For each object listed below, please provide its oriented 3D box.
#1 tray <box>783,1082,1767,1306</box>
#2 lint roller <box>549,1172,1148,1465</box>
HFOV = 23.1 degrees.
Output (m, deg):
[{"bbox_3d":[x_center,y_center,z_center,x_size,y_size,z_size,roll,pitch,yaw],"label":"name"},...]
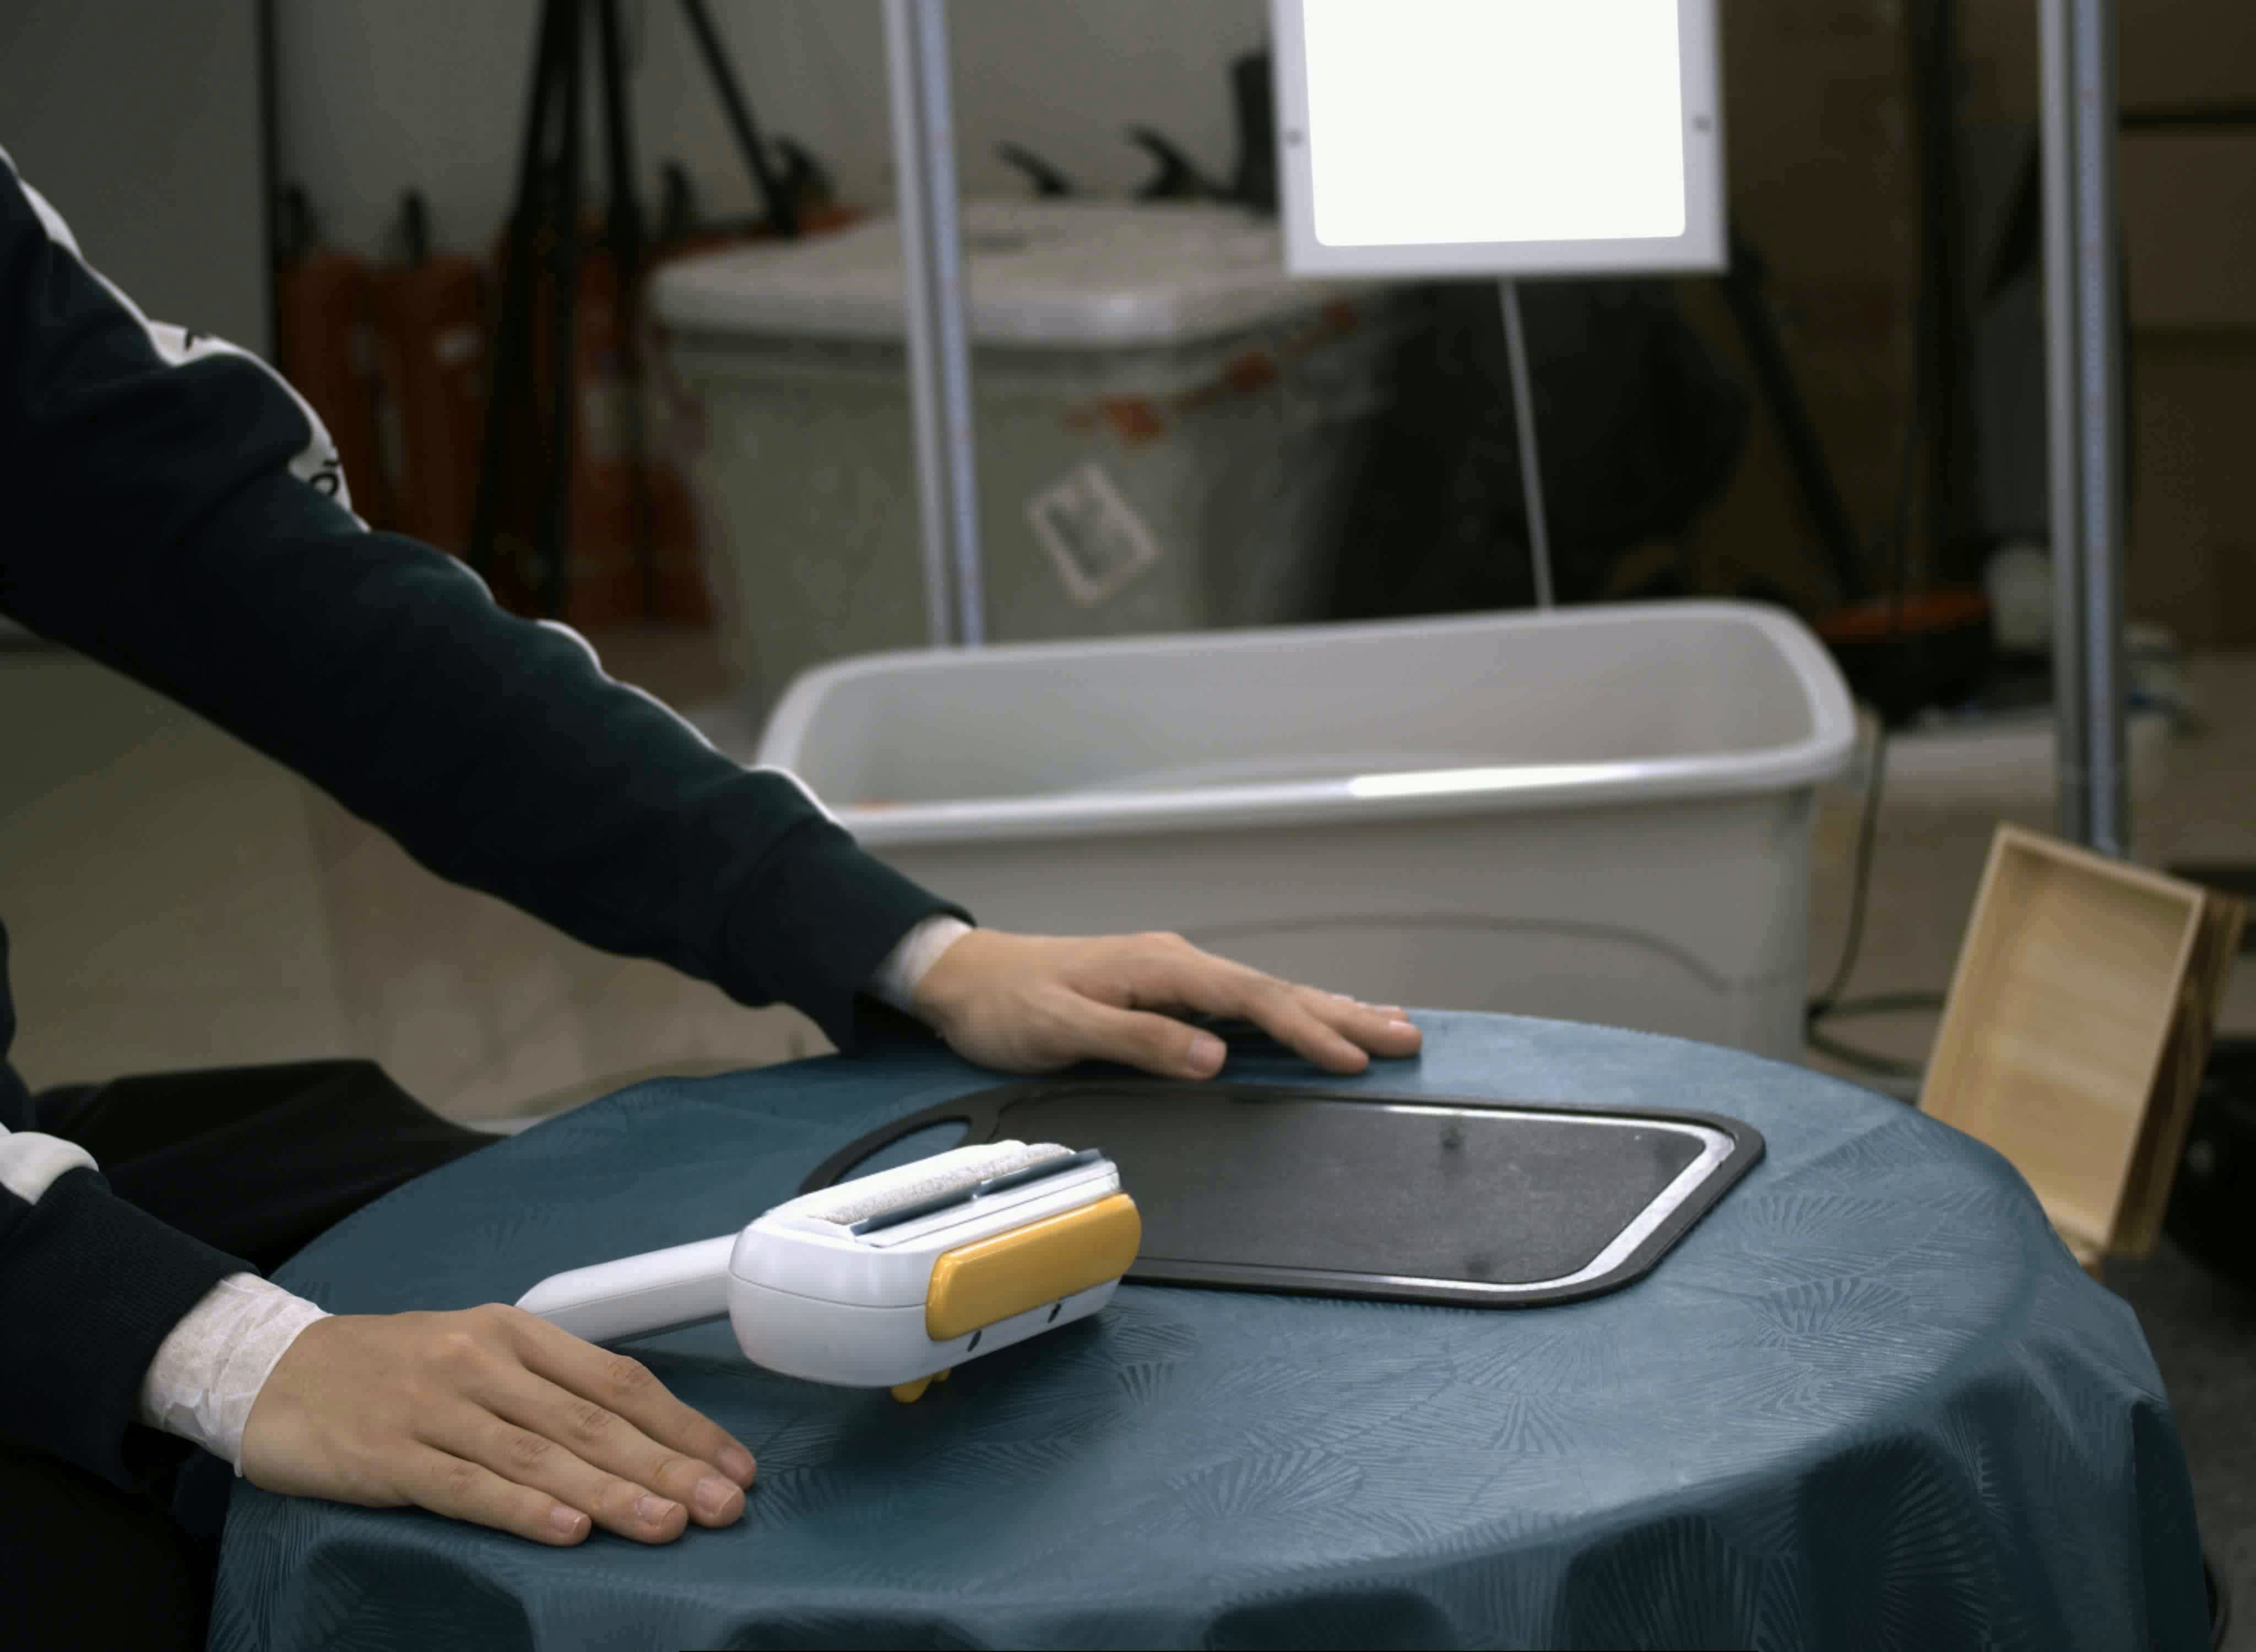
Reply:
[{"bbox_3d":[0.044,0.122,1.885,0.331,0.010,0.207,2,15,26],"label":"tray"},{"bbox_3d":[-0.107,0.160,1.737,0.196,0.074,0.188,-14,0,33],"label":"lint roller"}]
